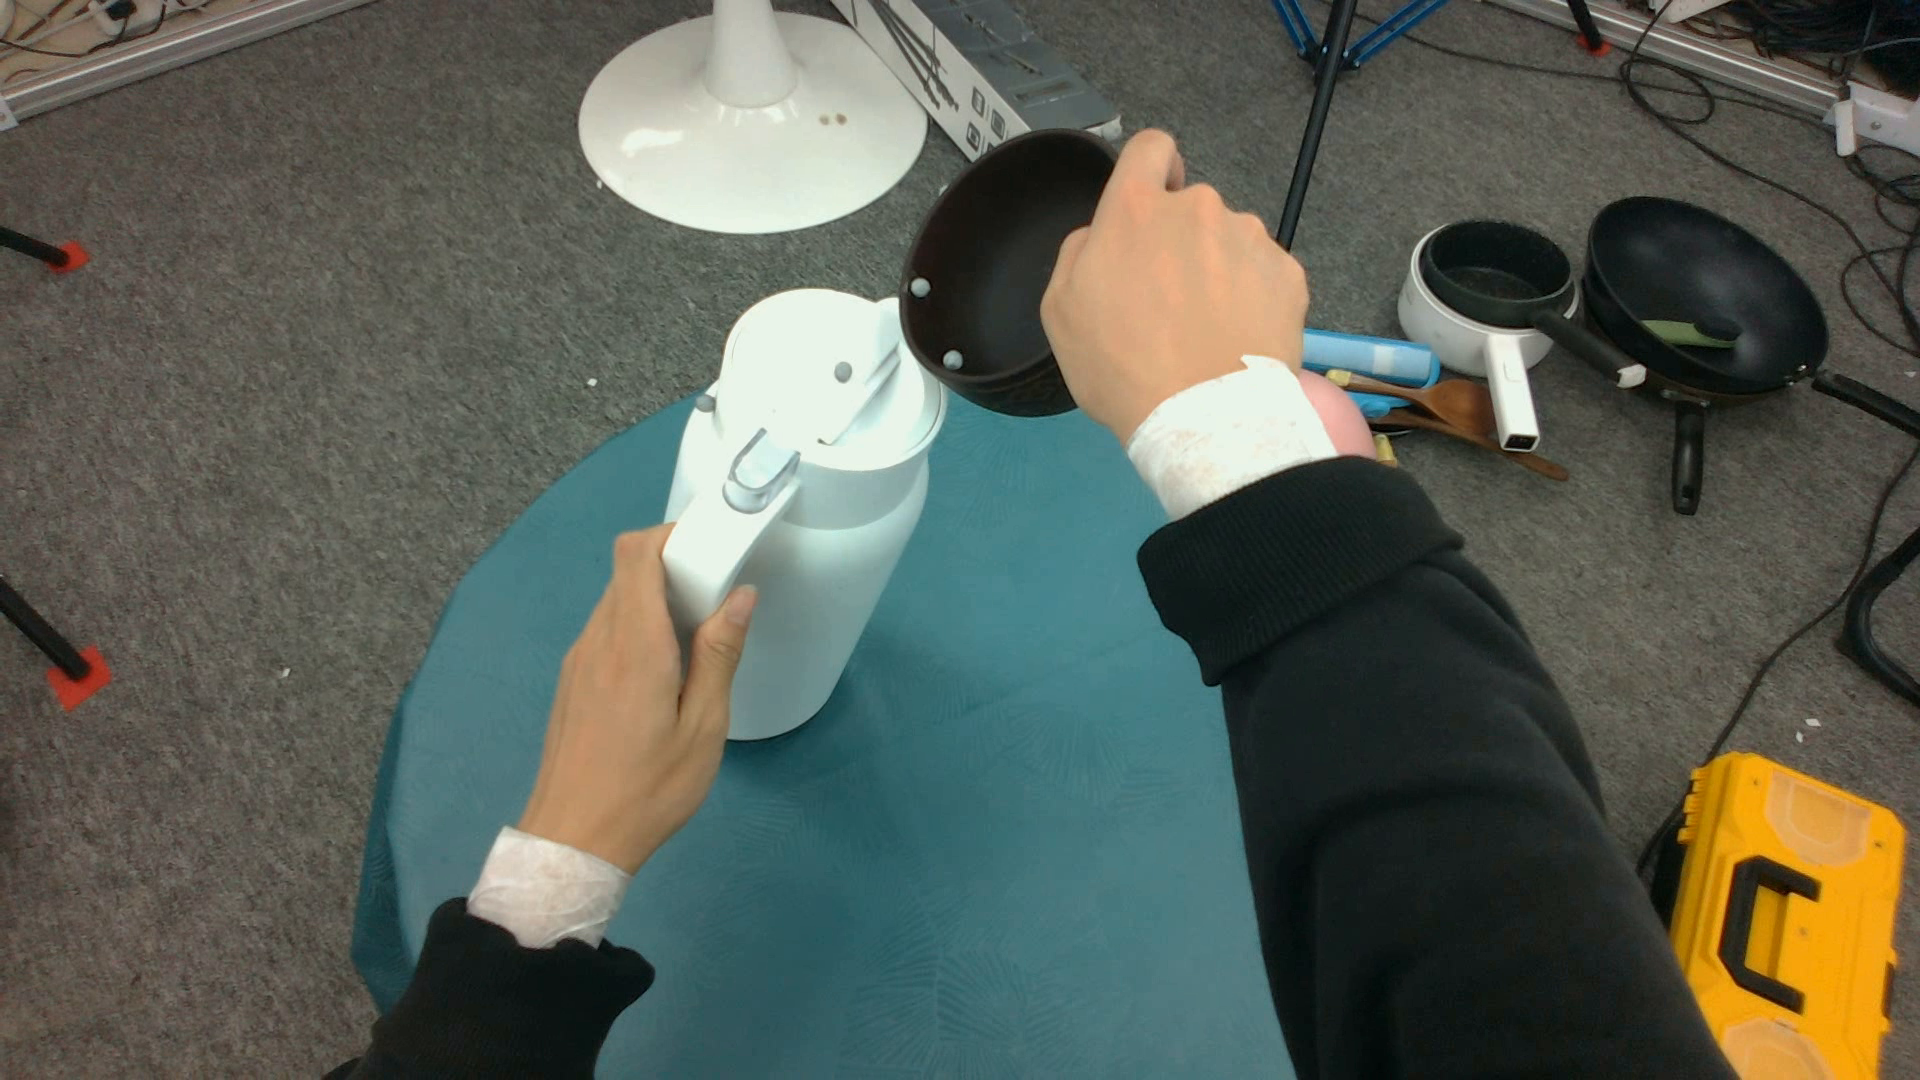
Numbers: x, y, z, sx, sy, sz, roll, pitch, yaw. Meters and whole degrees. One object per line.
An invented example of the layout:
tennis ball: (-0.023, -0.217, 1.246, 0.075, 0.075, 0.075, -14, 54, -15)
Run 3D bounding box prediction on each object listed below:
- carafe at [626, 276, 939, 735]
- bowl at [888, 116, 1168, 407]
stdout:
carafe: (-0.102, 0.005, 0.685, 0.124, 0.267, 0.174, 33, 53, 0)
bowl: (0.035, -0.109, 0.579, 0.117, 0.070, 0.118, -17, 60, 33)
